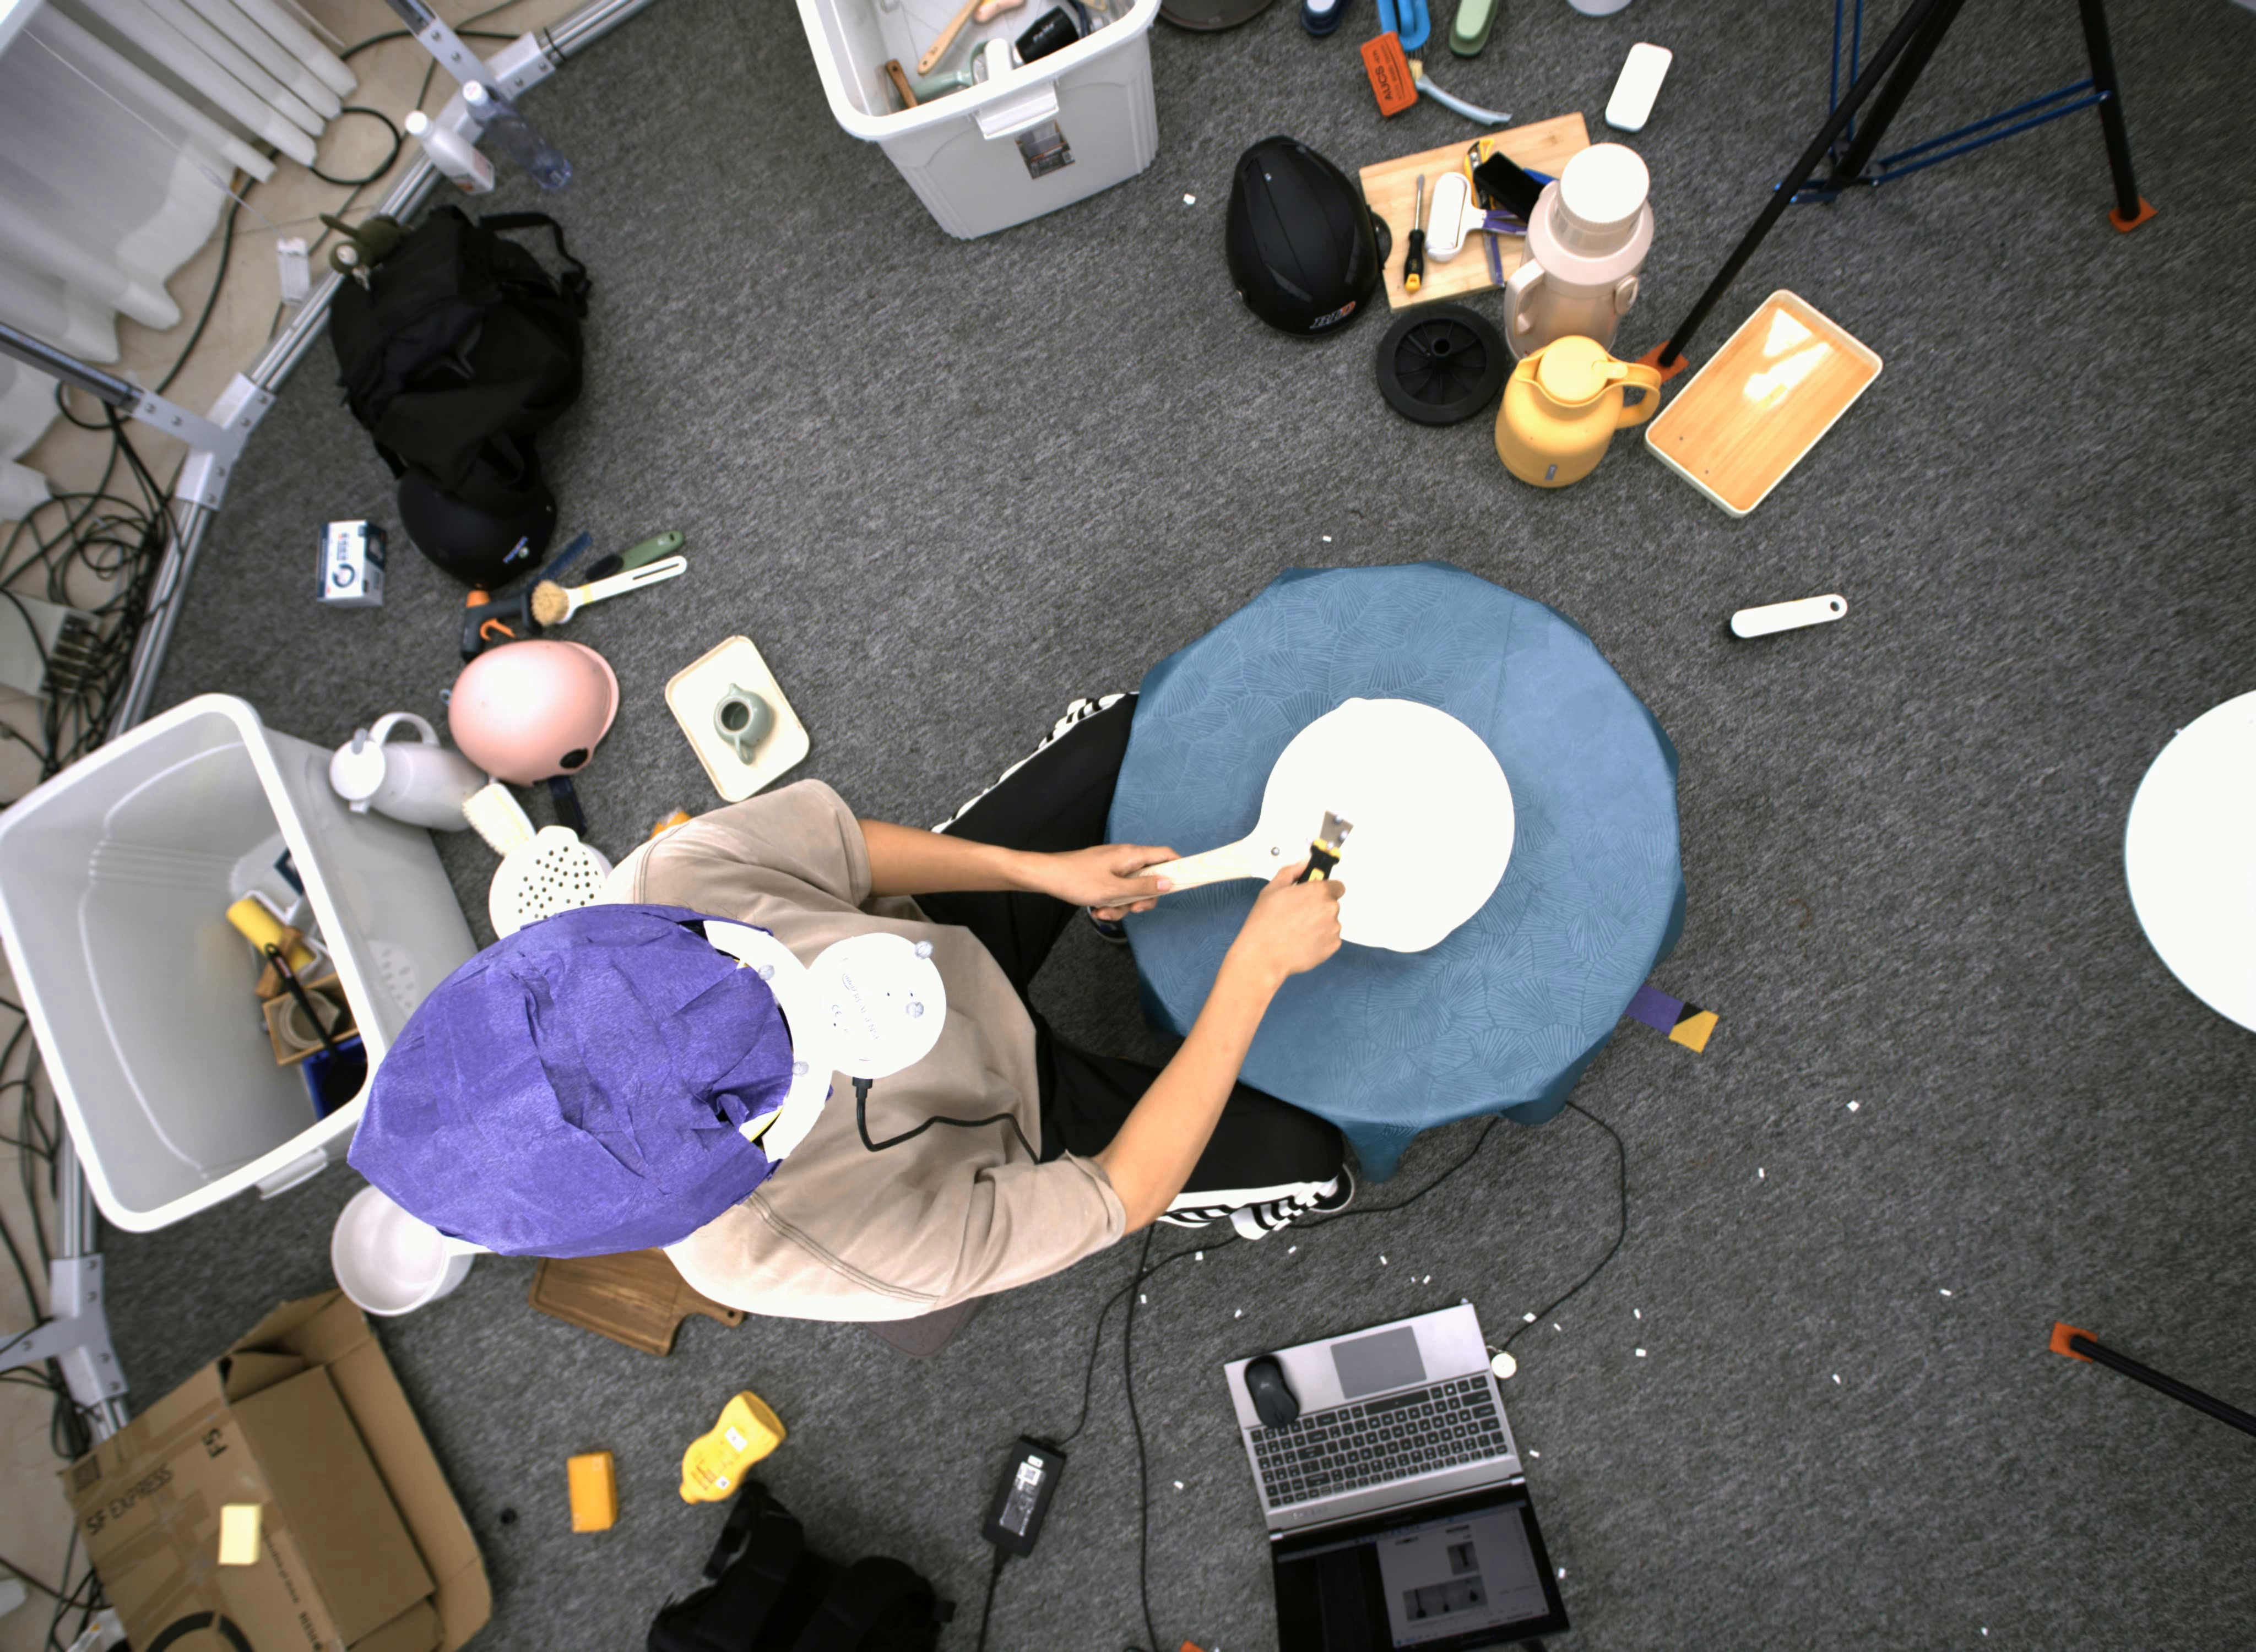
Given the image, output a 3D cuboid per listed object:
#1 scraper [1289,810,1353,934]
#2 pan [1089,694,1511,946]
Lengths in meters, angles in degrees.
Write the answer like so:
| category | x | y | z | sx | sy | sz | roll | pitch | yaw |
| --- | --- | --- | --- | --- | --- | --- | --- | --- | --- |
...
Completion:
| category | x | y | z | sx | sy | sz | roll | pitch | yaw |
| --- | --- | --- | --- | --- | --- | --- | --- | --- | --- |
| scraper | 0.192 | 0.045 | 1.381 | 0.039 | 0.166 | 0.015 | 30 | 136 | -4 |
| pan | 0.175 | 0.018 | 1.435 | 0.437 | 0.102 | 0.262 | -16 | 86 | 9 |
